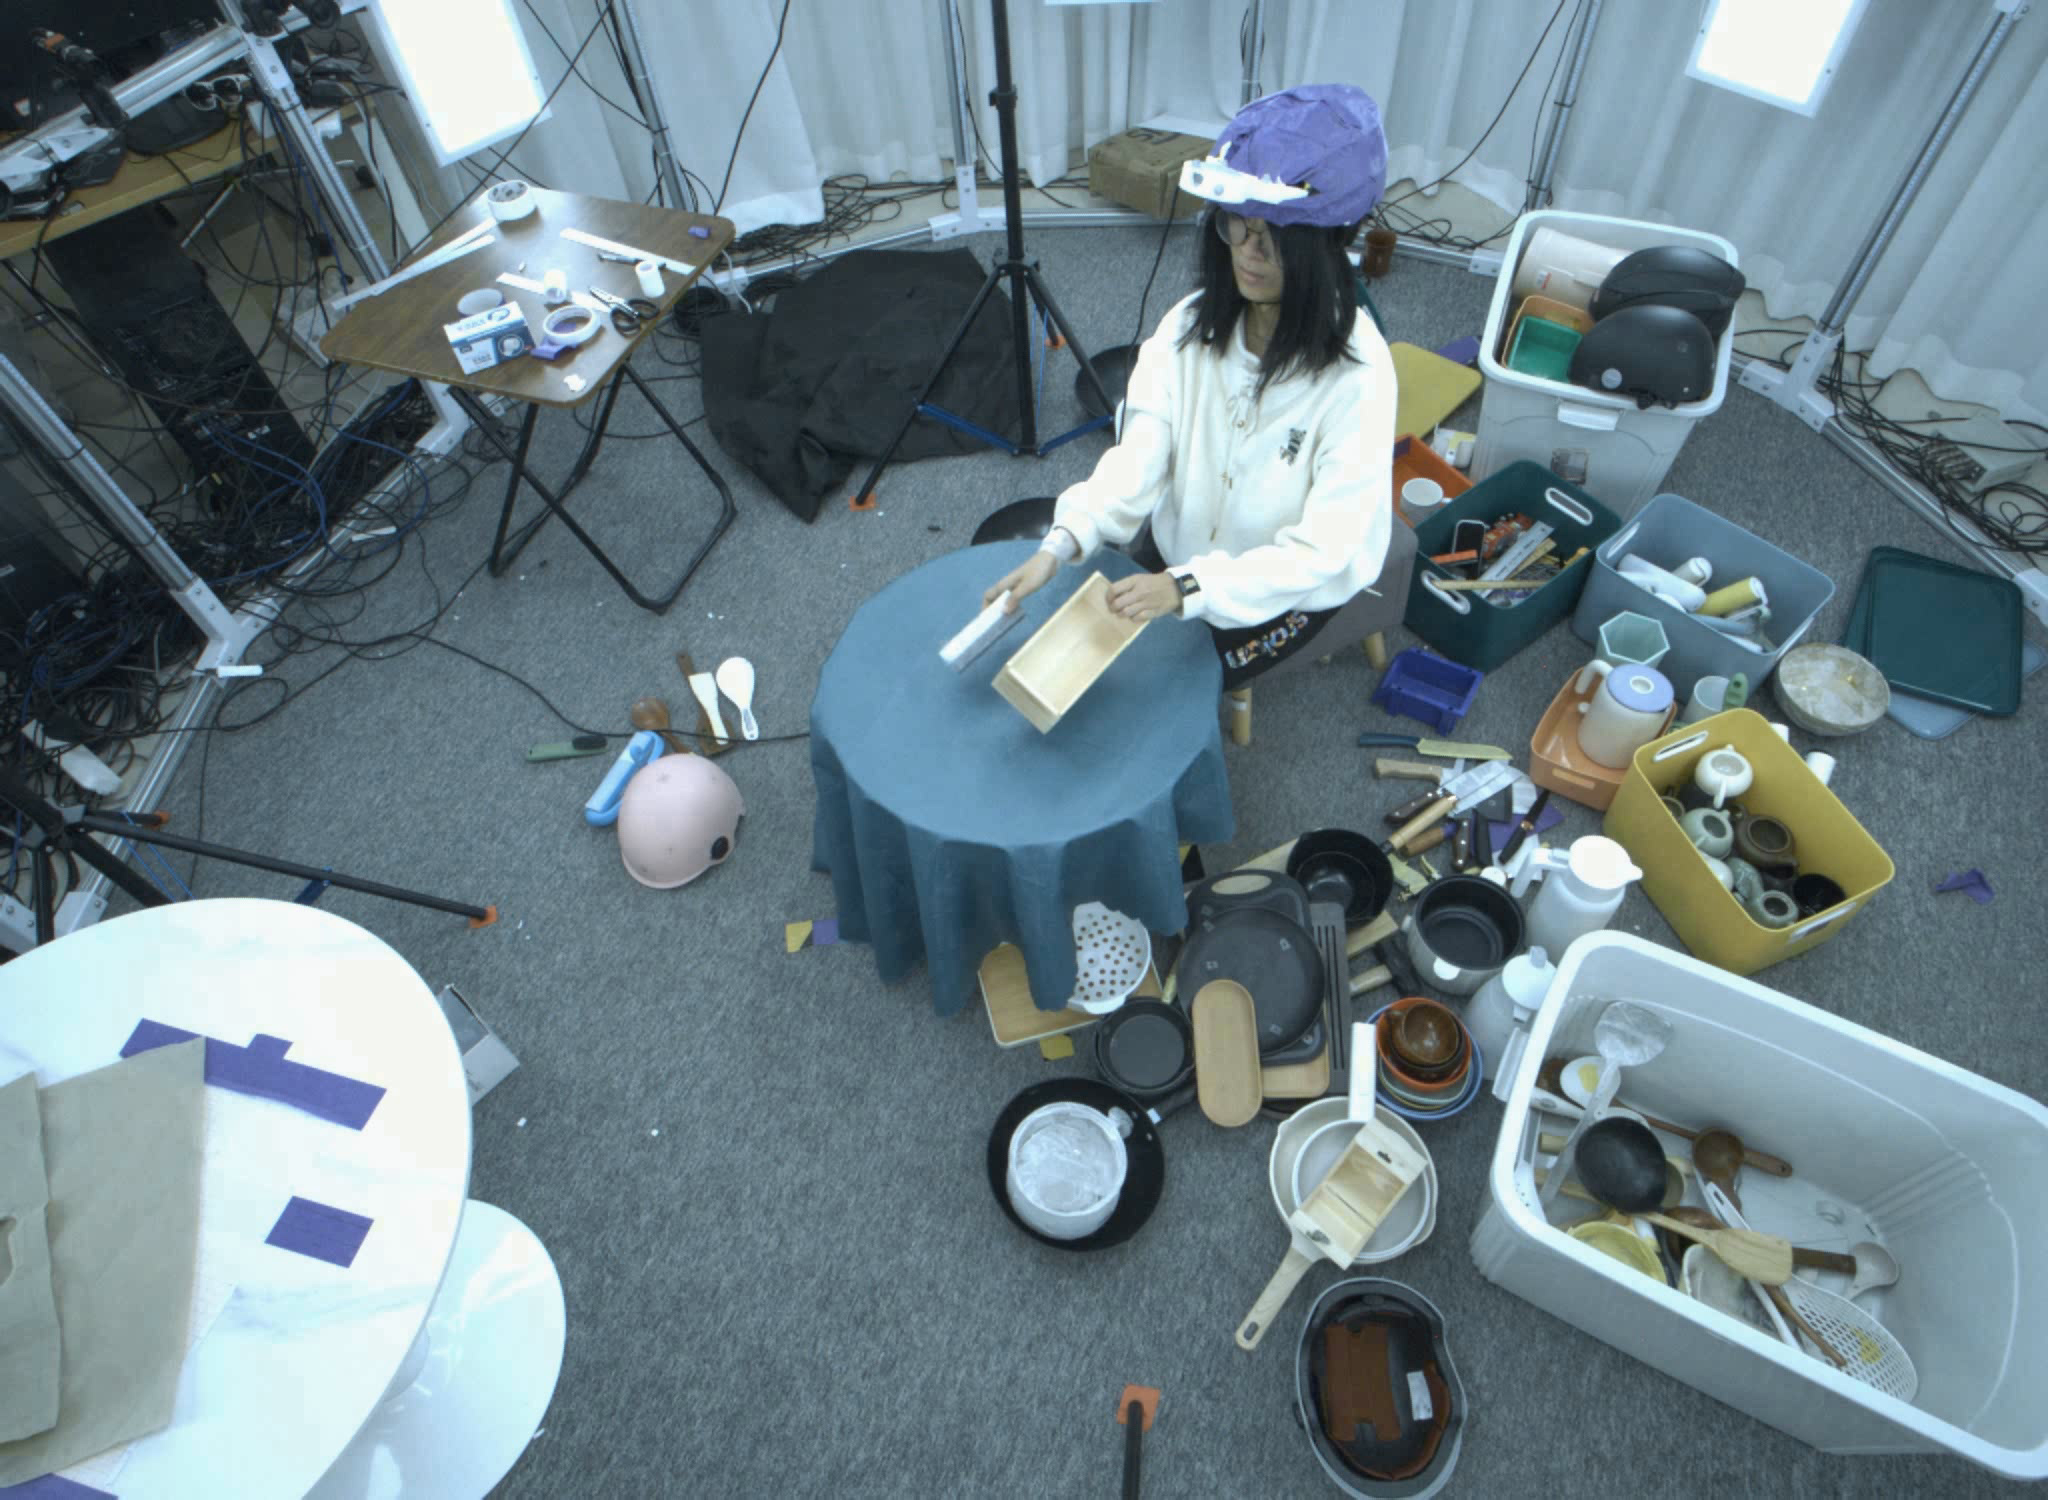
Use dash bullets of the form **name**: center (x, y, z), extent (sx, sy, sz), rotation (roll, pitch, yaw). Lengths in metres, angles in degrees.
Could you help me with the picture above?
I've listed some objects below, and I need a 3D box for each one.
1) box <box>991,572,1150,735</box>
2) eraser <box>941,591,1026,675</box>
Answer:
- **box**: center (0.067, -0.138, 1.749), extent (0.108, 0.079, 0.212), rotation (43, 66, -3)
- **eraser**: center (-0.059, -0.172, 1.812), extent (0.047, 0.049, 0.135), rotation (45, 77, -4)
